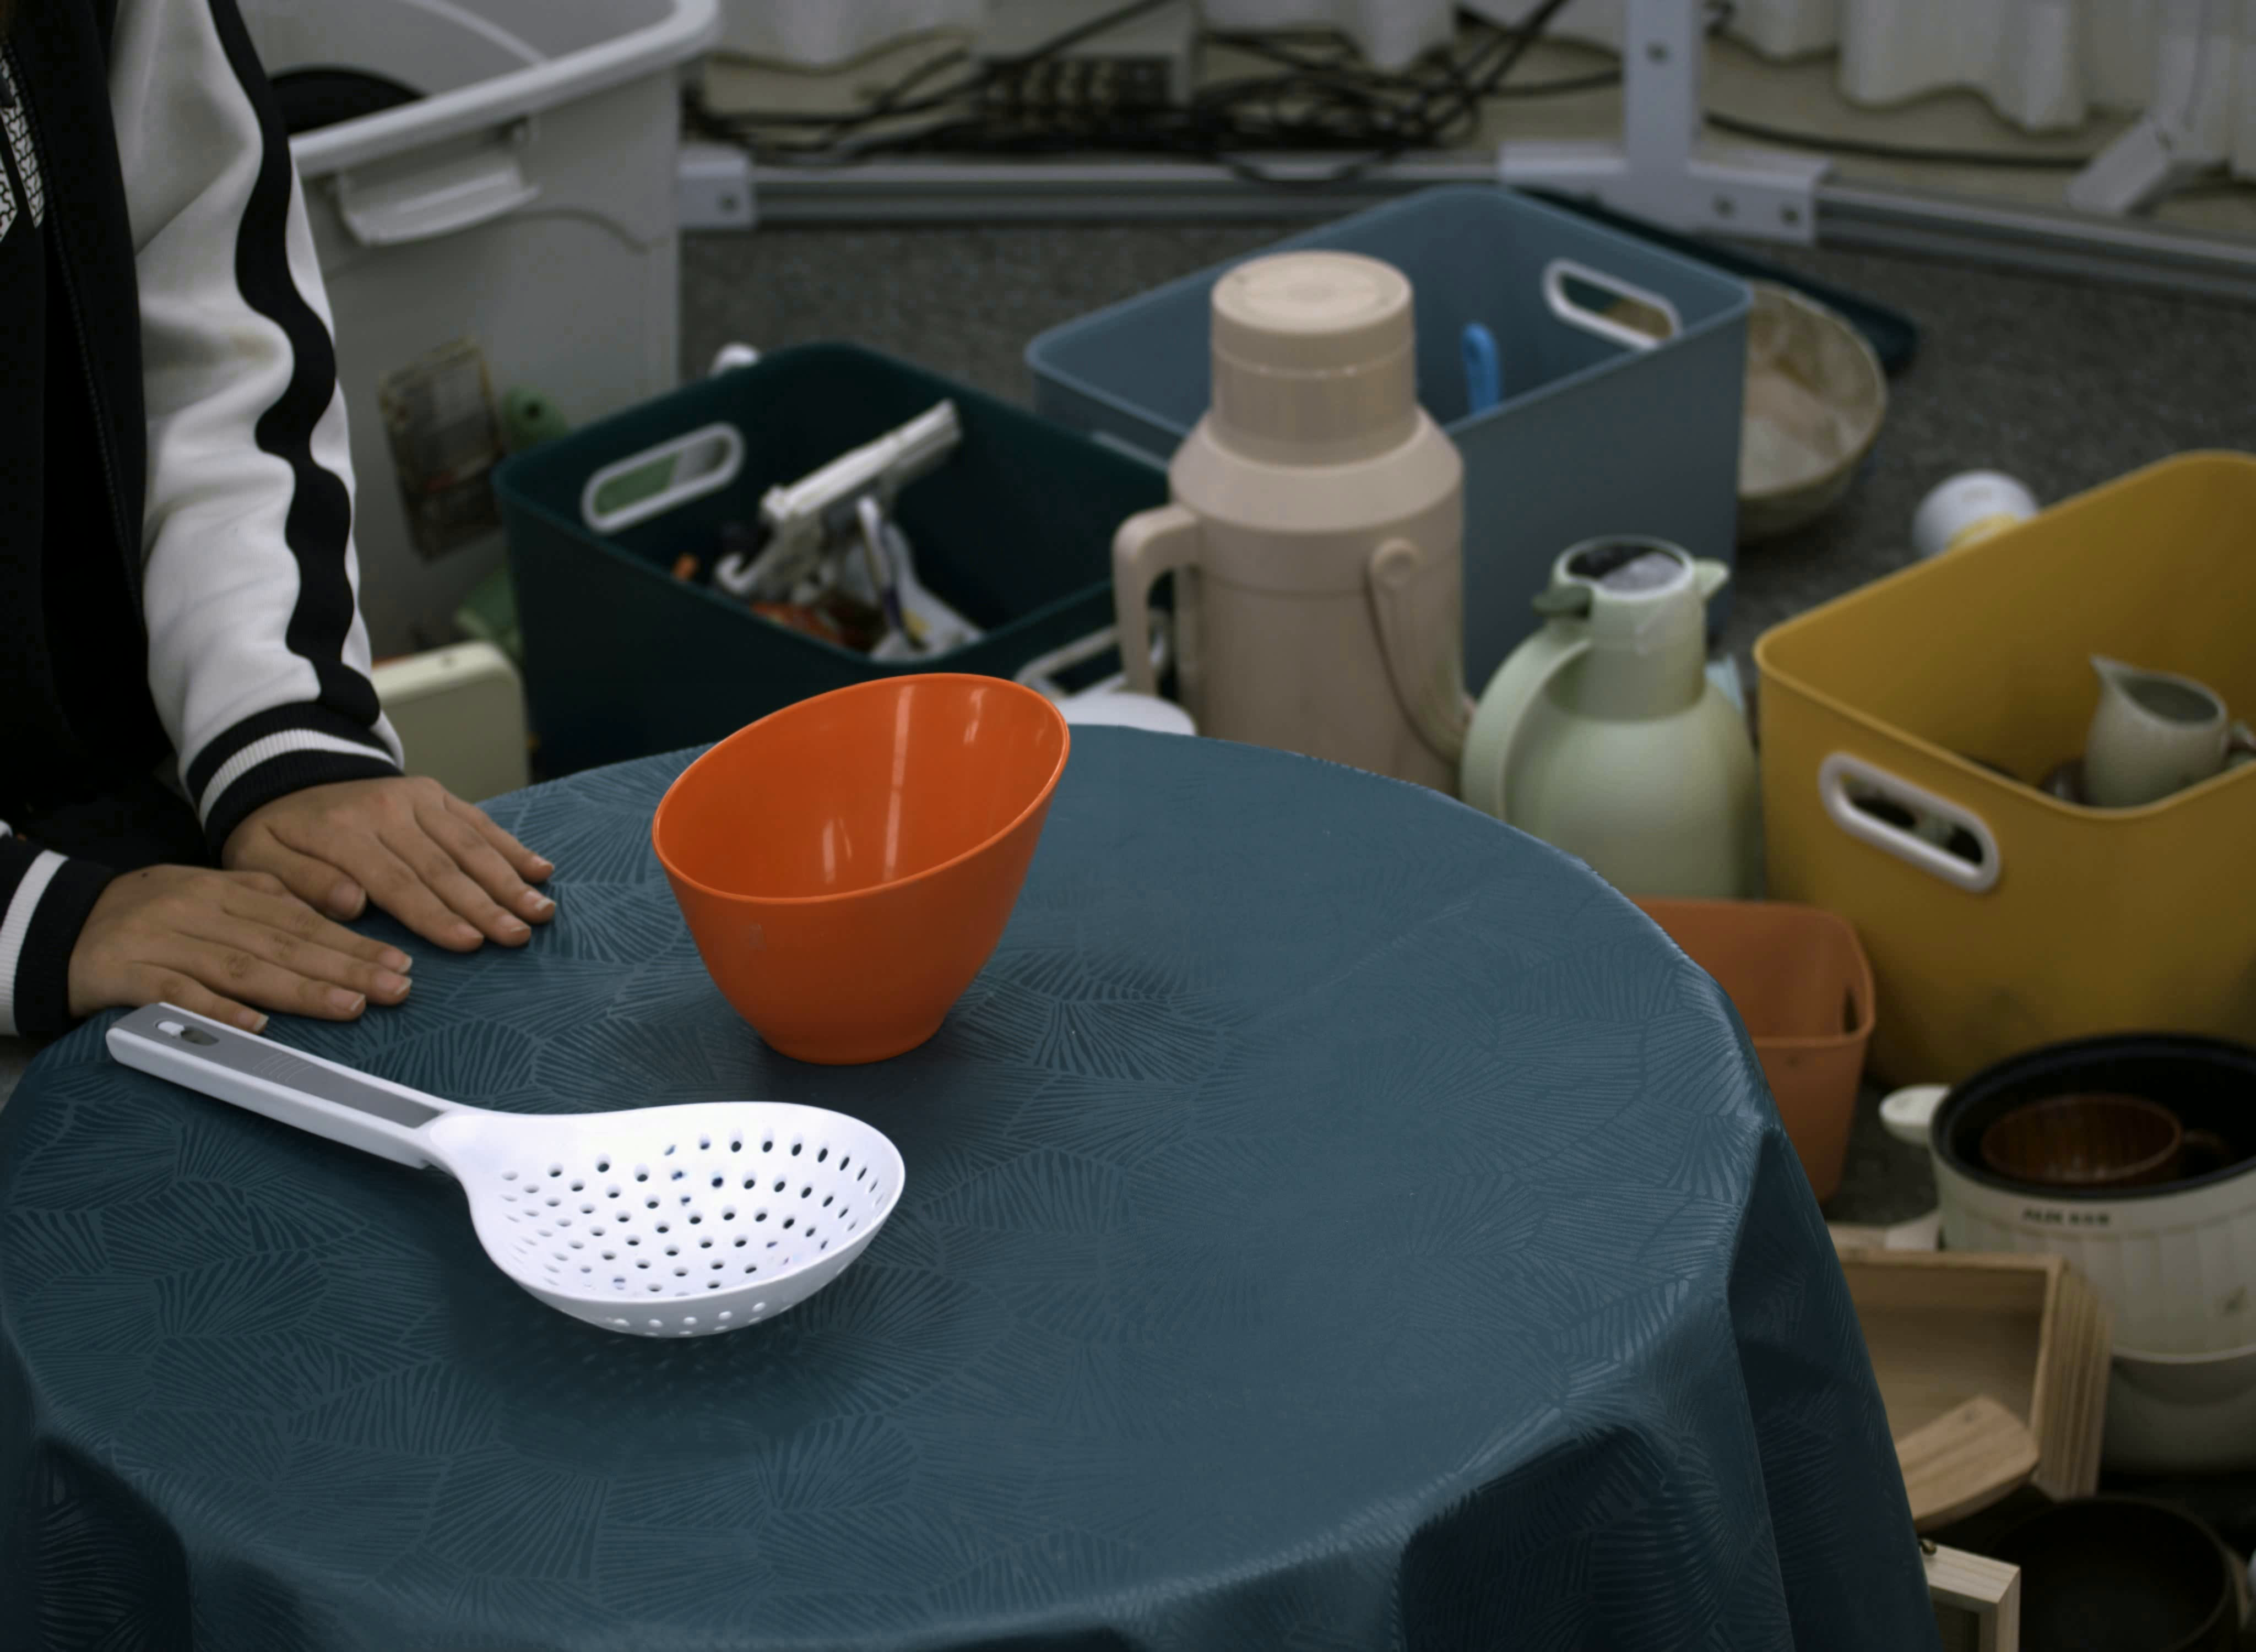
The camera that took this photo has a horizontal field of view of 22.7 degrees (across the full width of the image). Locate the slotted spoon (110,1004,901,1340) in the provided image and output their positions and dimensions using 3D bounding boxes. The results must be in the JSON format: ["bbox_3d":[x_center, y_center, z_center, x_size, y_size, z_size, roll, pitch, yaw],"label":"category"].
[{"bbox_3d":[-0.220,0.106,1.864,0.348,0.045,0.138,19,33,37],"label":"slotted spoon"}]

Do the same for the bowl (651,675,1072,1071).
[{"bbox_3d":[-0.089,0.023,1.954,0.147,0.103,0.150,-2,29,2],"label":"bowl"}]
